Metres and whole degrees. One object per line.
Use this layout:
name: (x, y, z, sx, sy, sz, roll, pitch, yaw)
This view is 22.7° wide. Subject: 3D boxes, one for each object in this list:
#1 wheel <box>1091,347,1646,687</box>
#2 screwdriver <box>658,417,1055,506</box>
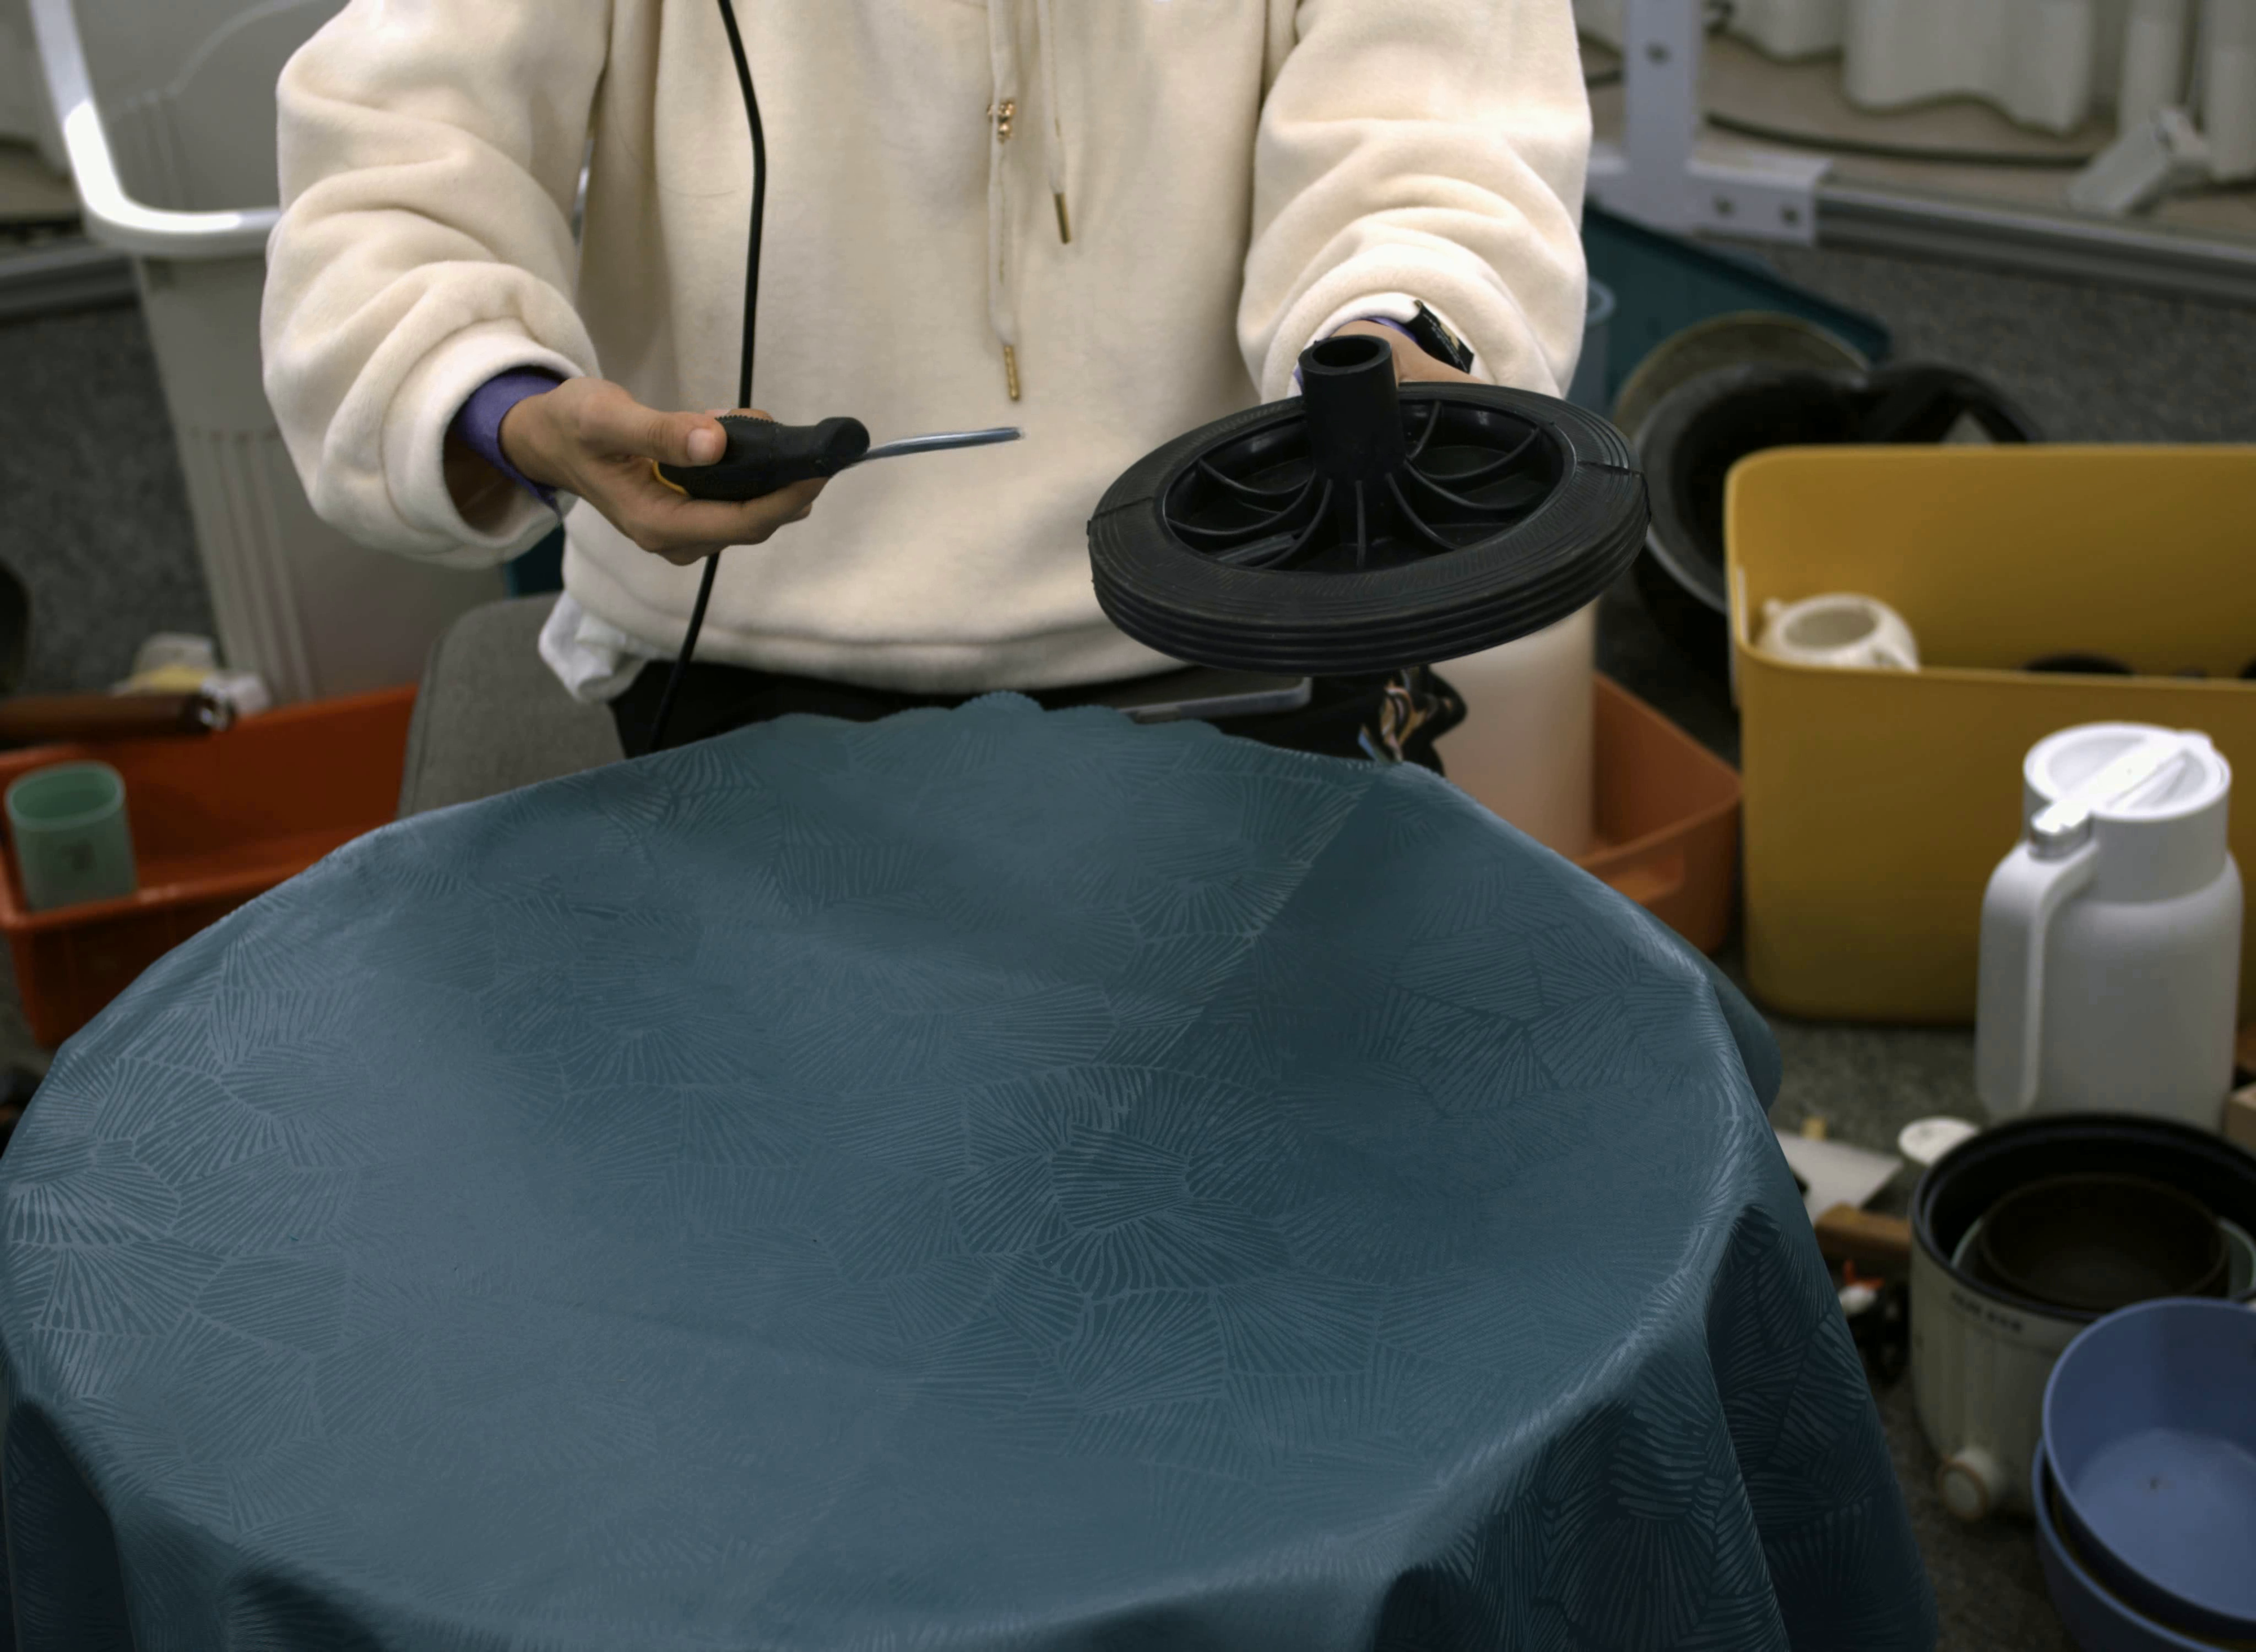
wheel: (0.076, -0.117, 1.877, 0.186, 0.078, 0.192, 15, 36, 39)
screwdriver: (-0.093, -0.130, 1.974, 0.196, 0.031, 0.032, 0, 22, 42)
